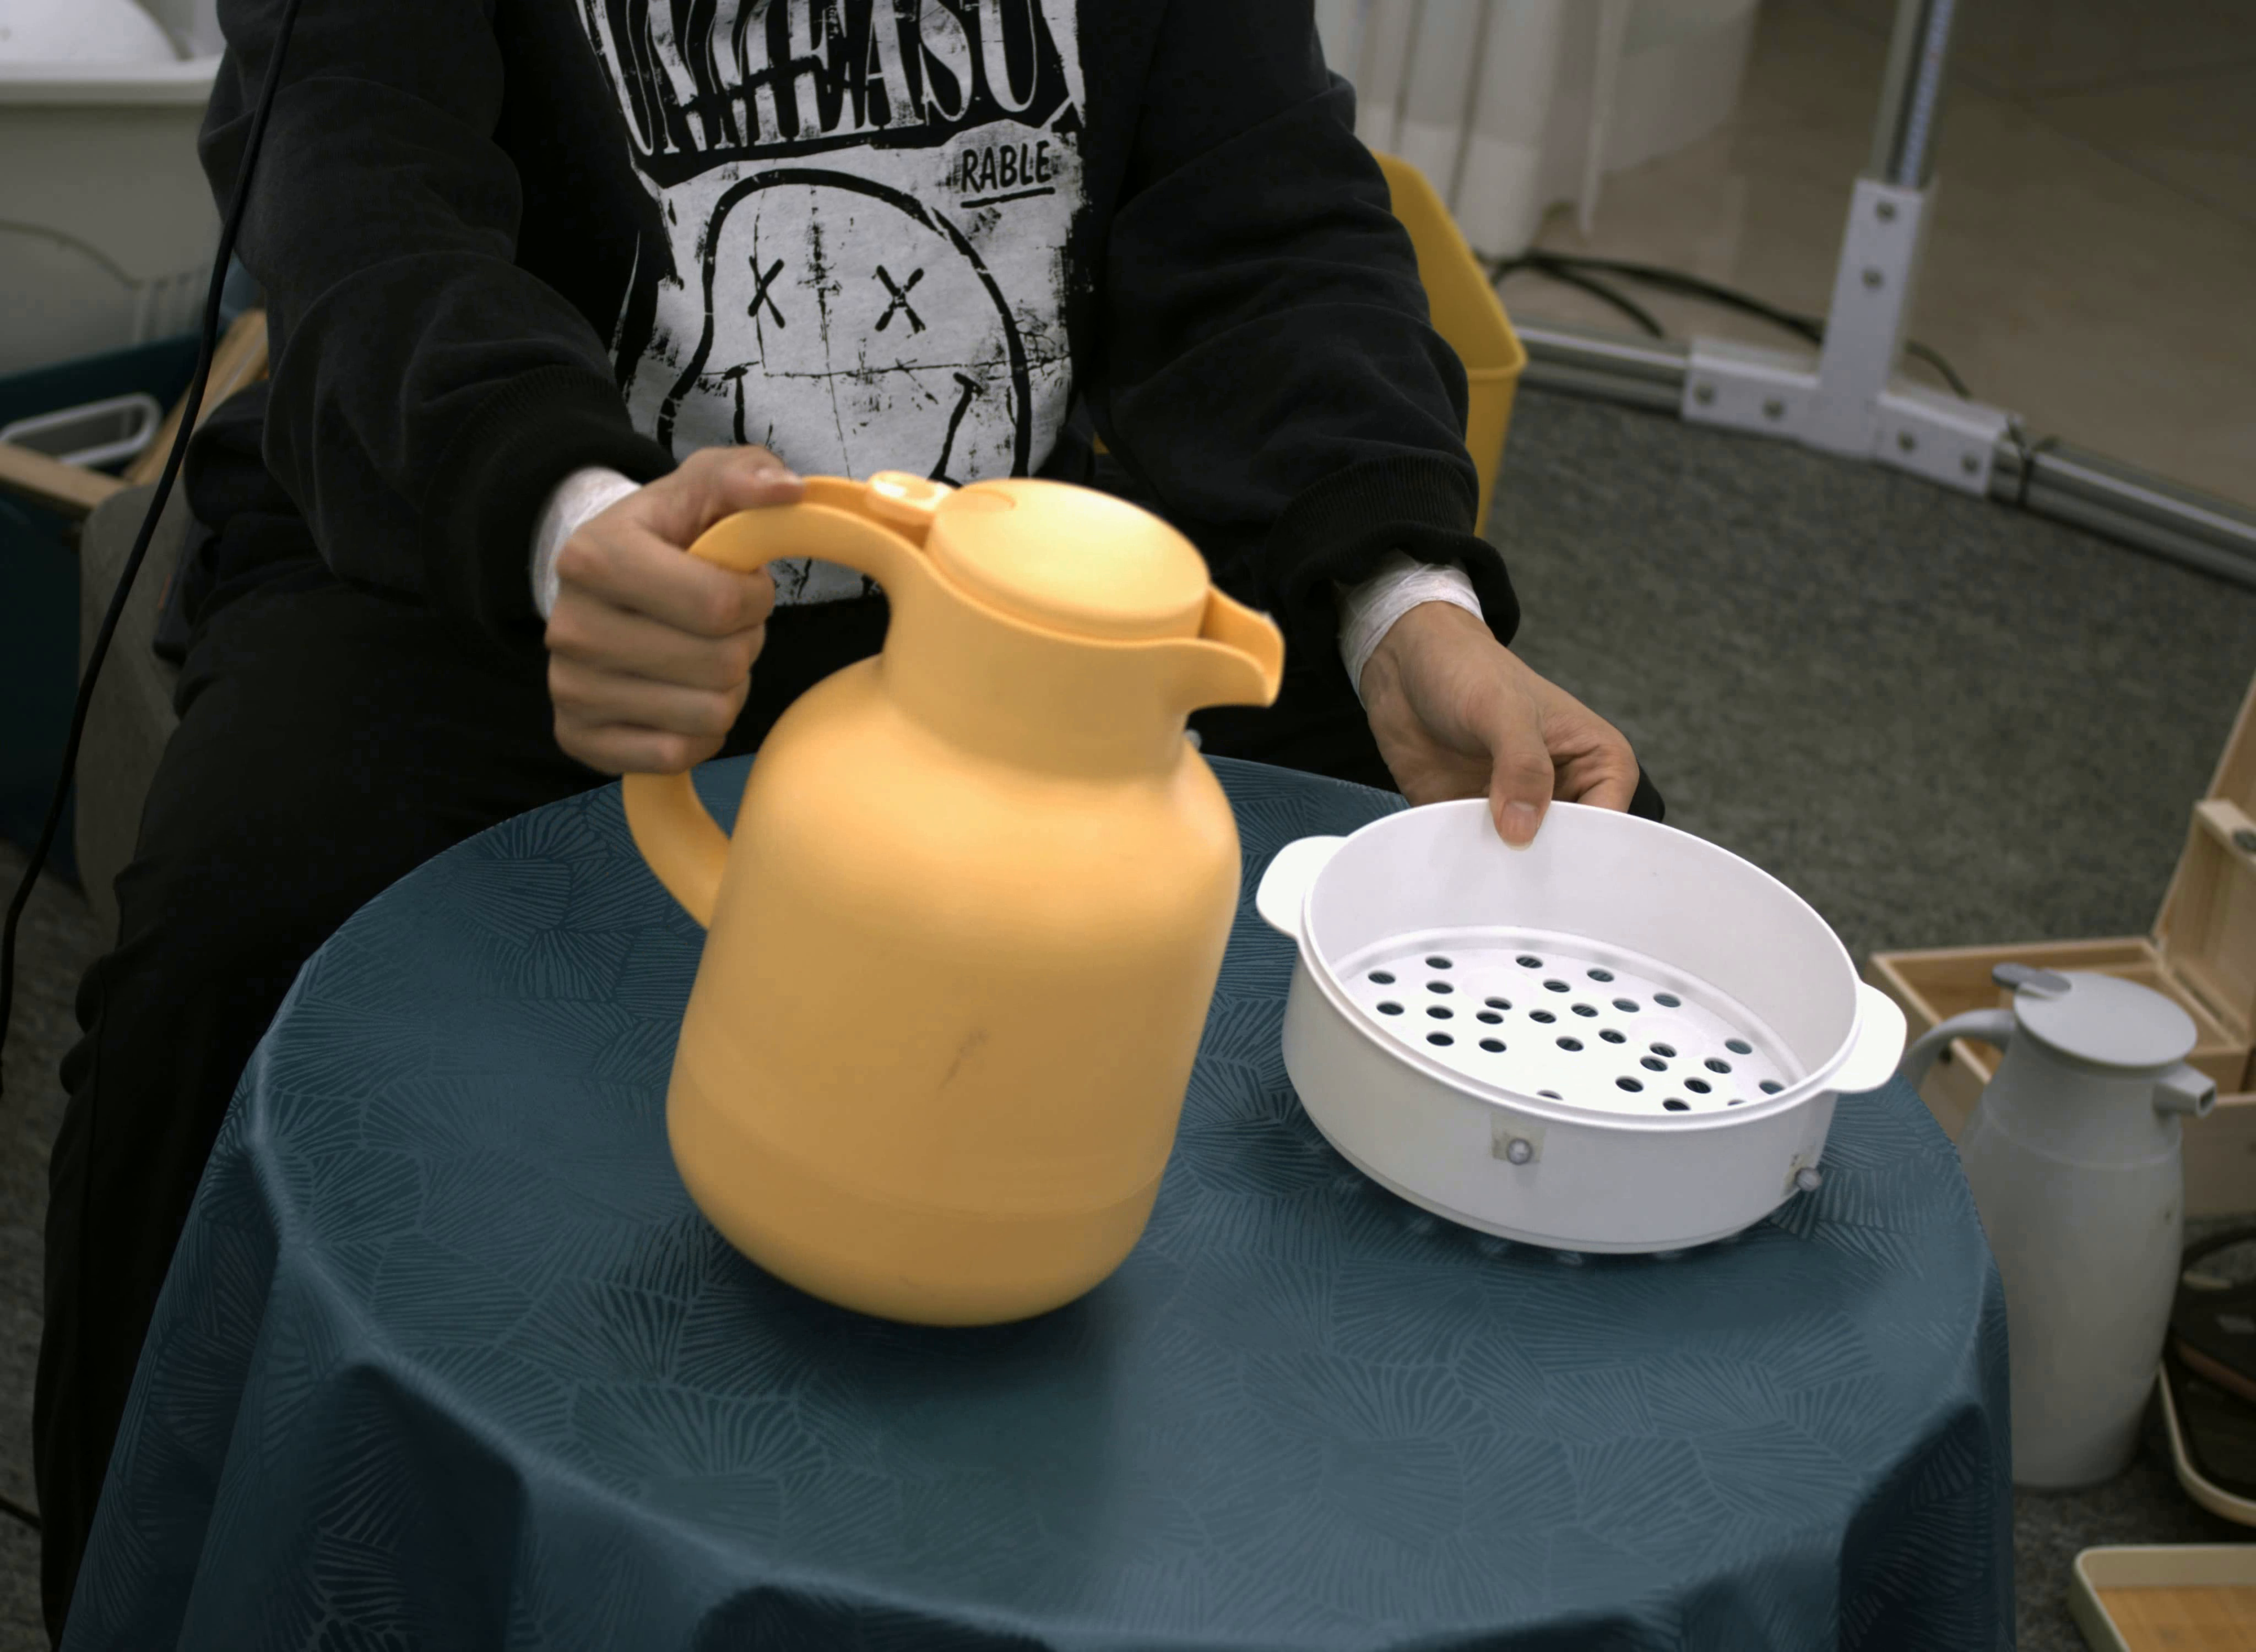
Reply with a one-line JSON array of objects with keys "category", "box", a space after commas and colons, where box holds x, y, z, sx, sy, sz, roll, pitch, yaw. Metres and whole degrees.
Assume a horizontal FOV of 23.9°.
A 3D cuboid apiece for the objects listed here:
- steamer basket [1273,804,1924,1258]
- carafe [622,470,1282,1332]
[{"category": "steamer basket", "box": [0.158, 0.072, 1.854, 0.230, 0.069, 0.202, 17, 31, 9]}, {"category": "carafe", "box": [-0.066, 0.013, 1.687, 0.202, 0.260, 0.163, 21, 25, 10]}]
